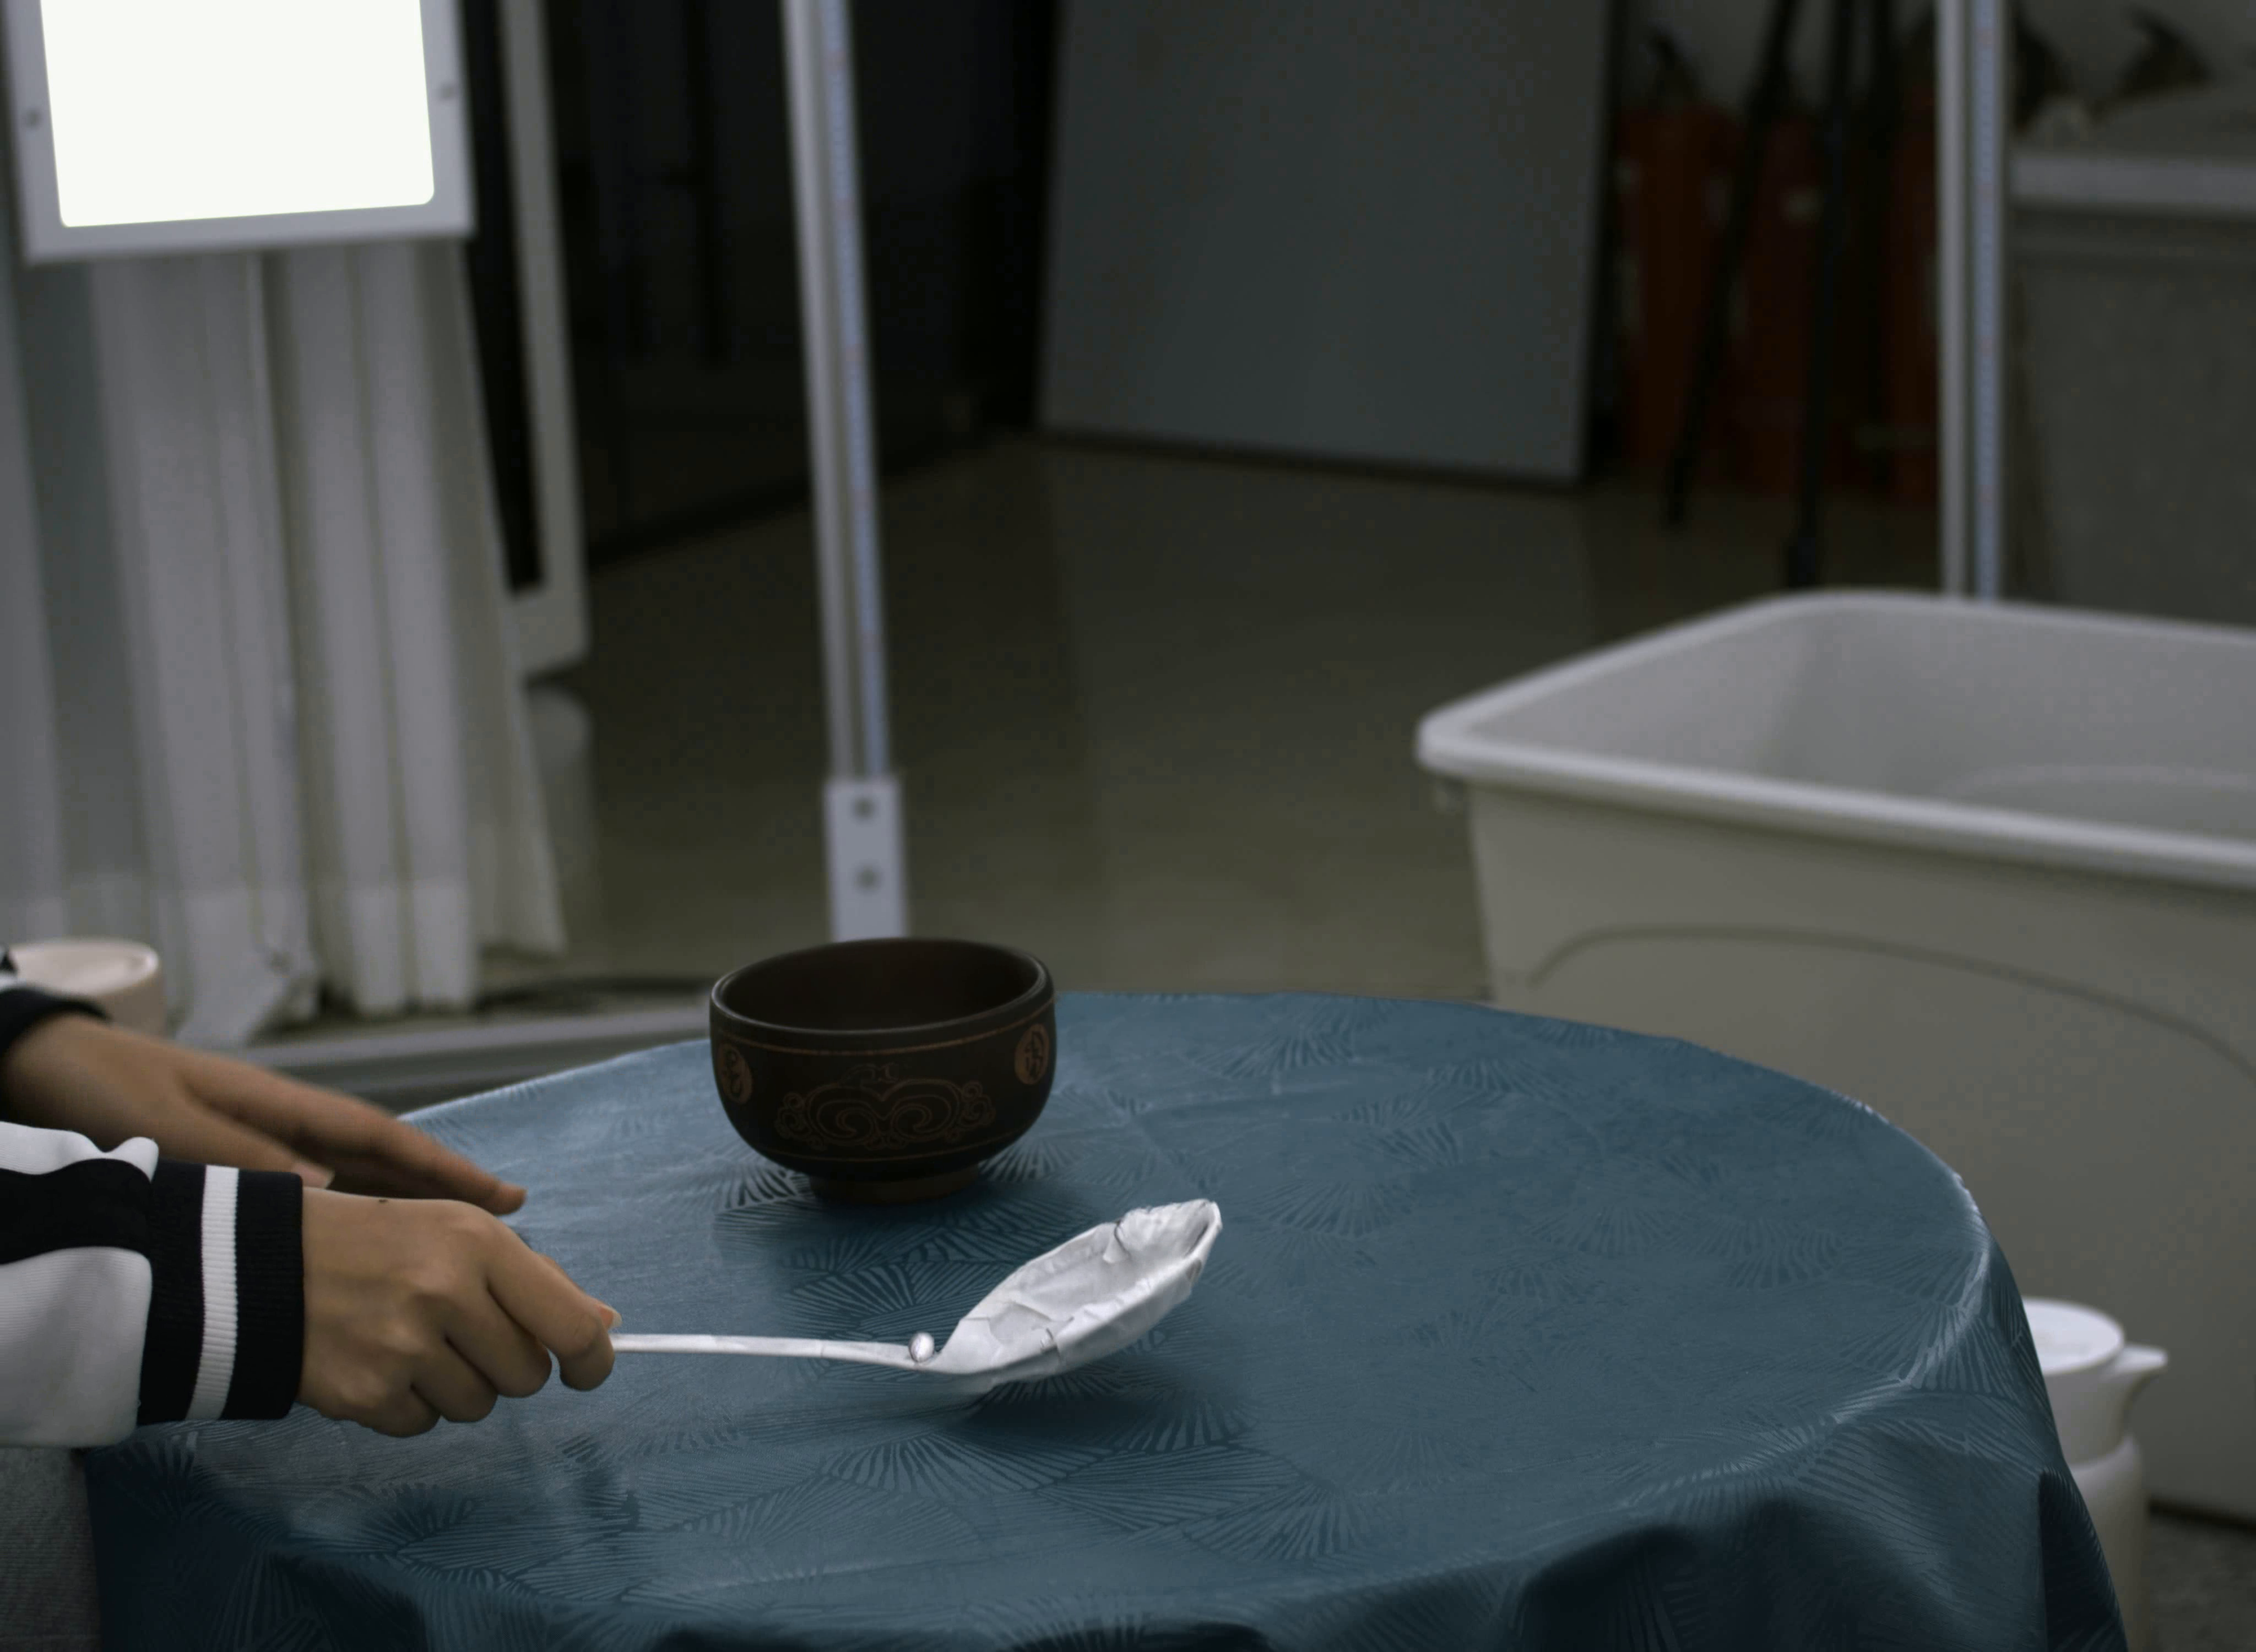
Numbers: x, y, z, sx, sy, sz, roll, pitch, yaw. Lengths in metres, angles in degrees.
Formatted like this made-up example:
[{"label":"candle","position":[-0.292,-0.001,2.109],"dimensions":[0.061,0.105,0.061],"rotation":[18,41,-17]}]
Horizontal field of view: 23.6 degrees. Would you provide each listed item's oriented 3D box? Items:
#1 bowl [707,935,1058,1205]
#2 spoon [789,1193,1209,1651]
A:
[{"label":"bowl","position":[-0.080,0.084,1.791],"dimensions":[0.116,0.070,0.118],"rotation":[-4,13,0]},{"label":"spoon","position":[-0.056,0.219,1.559],"dimensions":[0.058,0.278,0.101],"rotation":[31,-21,-18]}]
